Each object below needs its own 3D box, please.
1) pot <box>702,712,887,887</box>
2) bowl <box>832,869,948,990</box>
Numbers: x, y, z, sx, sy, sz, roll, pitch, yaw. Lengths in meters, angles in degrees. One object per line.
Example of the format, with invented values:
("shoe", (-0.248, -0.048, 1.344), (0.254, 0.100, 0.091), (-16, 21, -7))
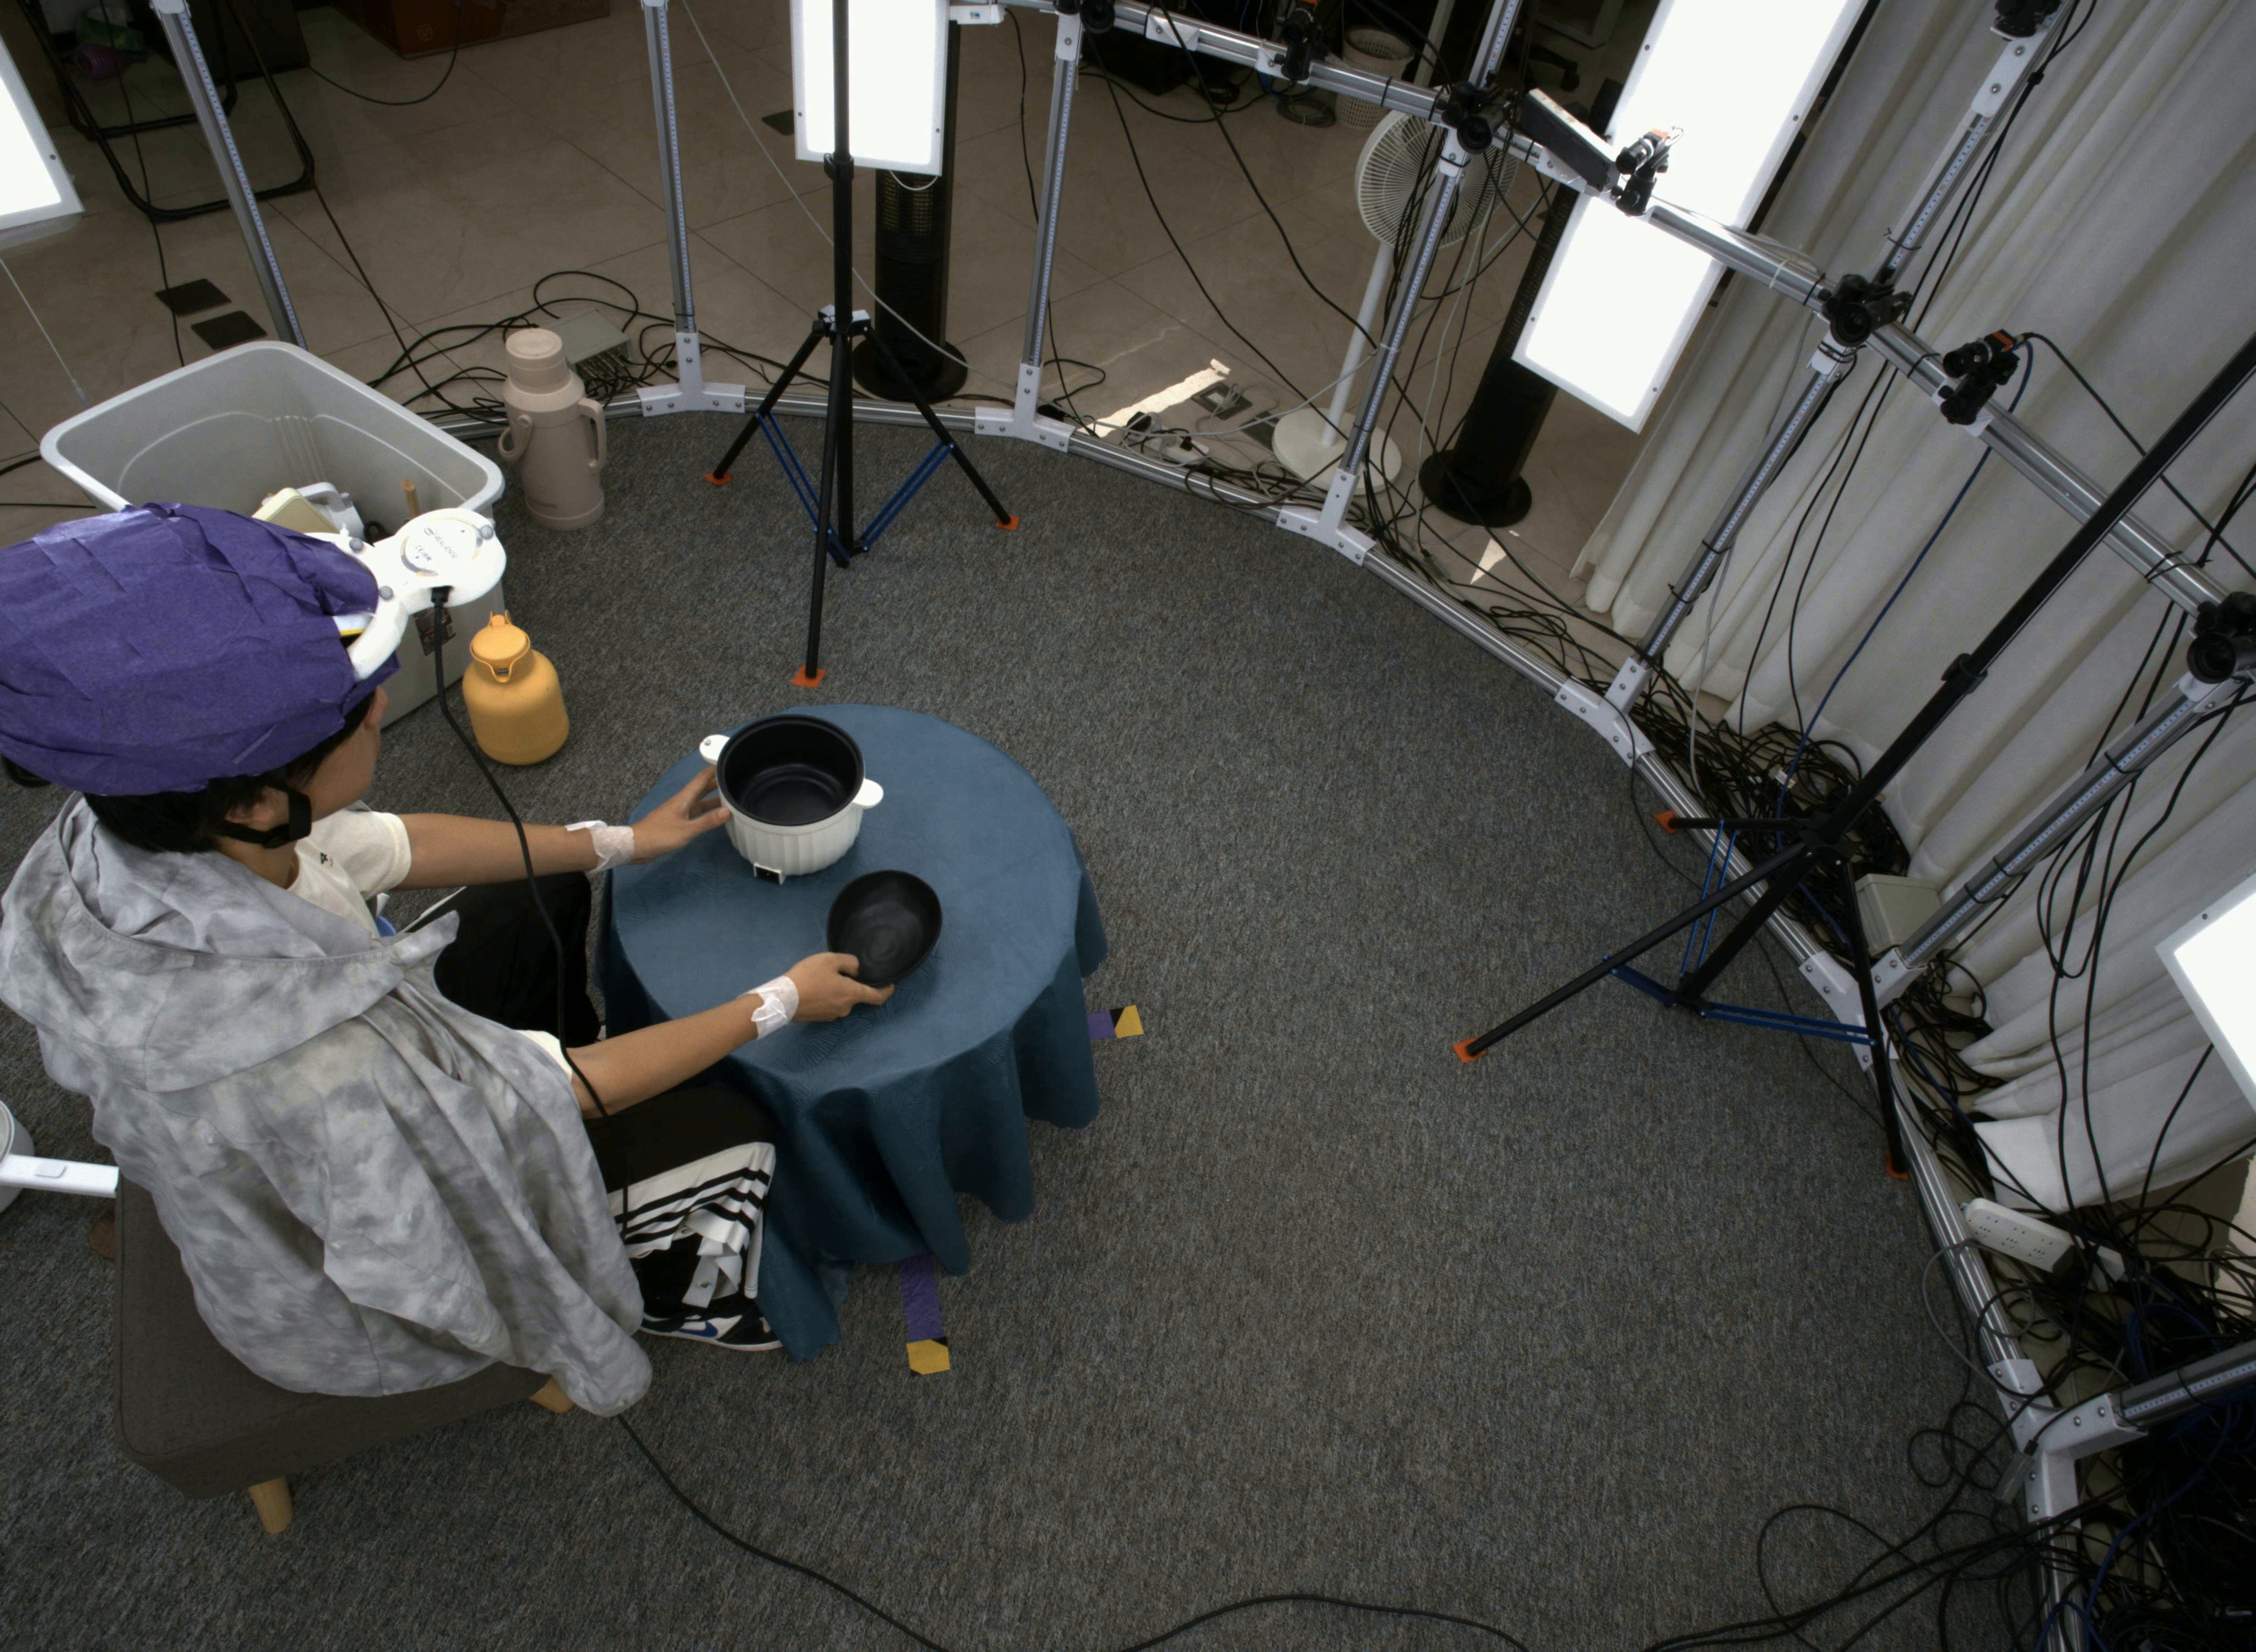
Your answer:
("pot", (-0.424, -0.037, 1.665), (0.238, 0.145, 0.188), (17, 55, -1))
("bowl", (-0.296, 0.136, 1.615), (0.136, 0.068, 0.168), (16, 53, 0))
